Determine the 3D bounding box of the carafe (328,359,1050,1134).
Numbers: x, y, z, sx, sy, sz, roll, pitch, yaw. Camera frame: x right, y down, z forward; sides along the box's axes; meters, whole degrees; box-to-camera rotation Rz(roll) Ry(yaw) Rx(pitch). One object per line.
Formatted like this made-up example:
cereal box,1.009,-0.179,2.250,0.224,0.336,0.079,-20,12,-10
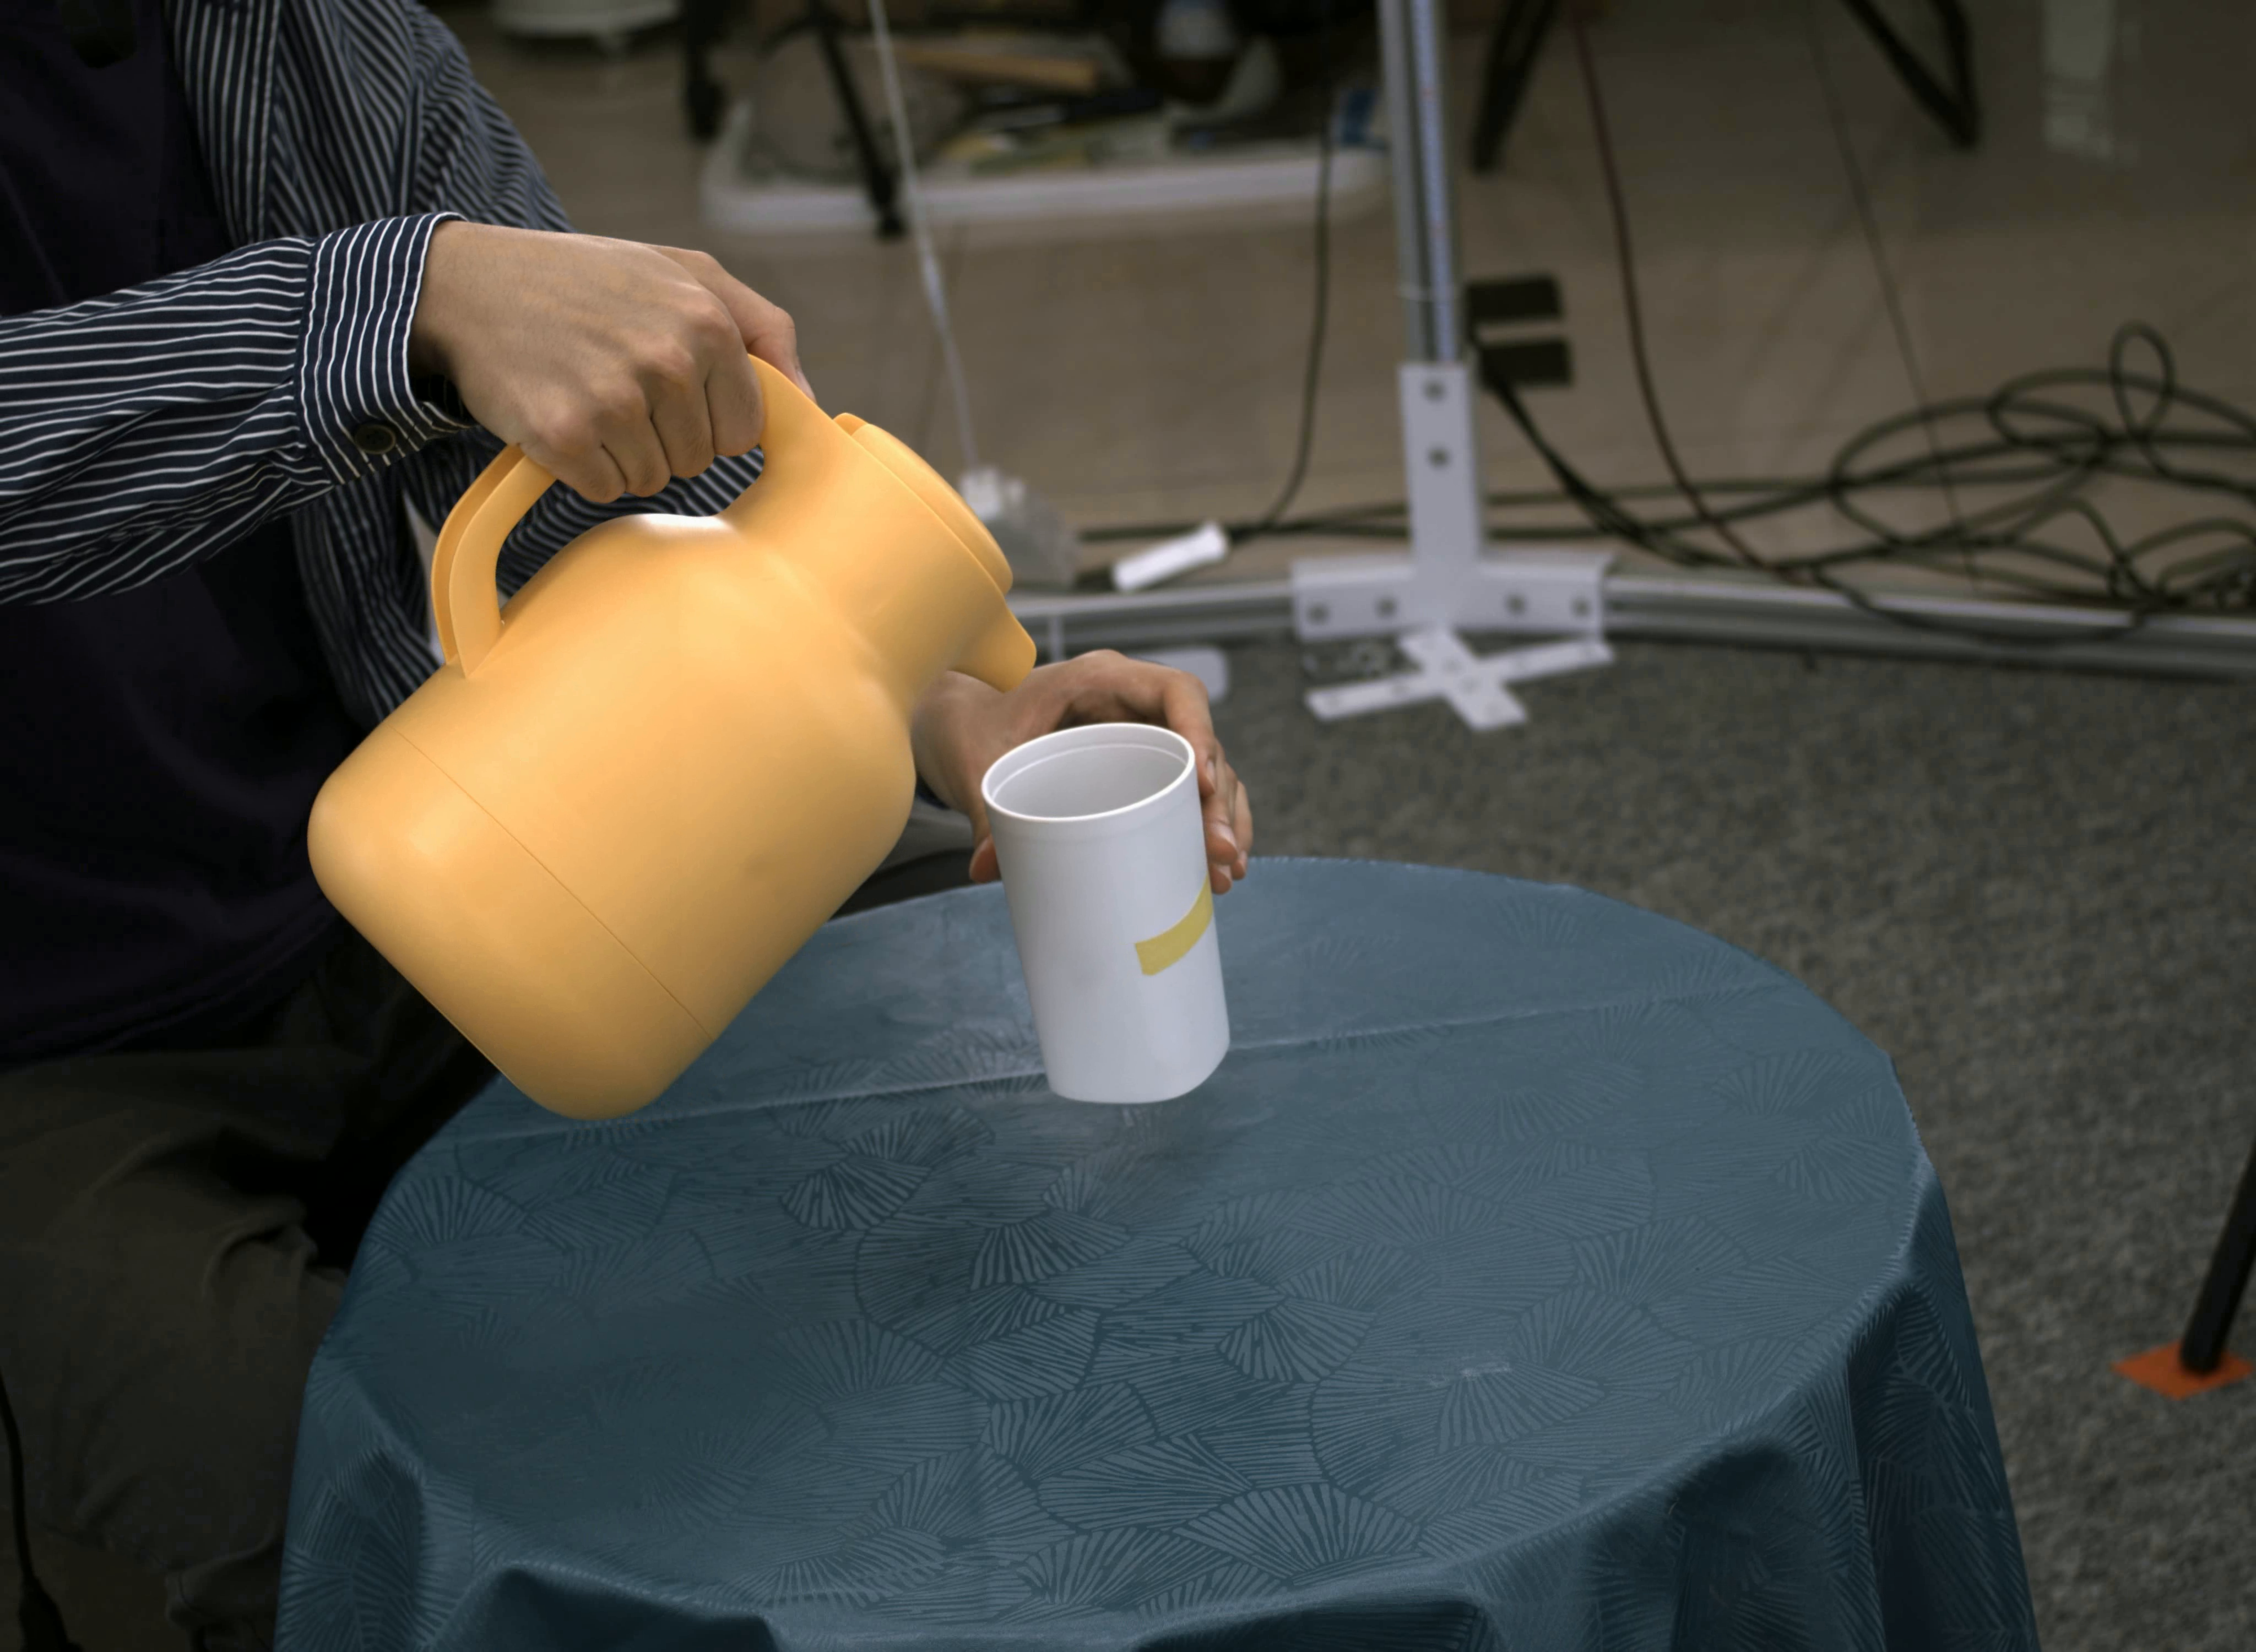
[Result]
carafe,-0.165,-0.037,2.023,0.260,0.205,0.162,-46,27,-6

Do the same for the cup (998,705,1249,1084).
cup,0.002,0.027,2.134,0.081,0.127,0.080,-9,26,4
